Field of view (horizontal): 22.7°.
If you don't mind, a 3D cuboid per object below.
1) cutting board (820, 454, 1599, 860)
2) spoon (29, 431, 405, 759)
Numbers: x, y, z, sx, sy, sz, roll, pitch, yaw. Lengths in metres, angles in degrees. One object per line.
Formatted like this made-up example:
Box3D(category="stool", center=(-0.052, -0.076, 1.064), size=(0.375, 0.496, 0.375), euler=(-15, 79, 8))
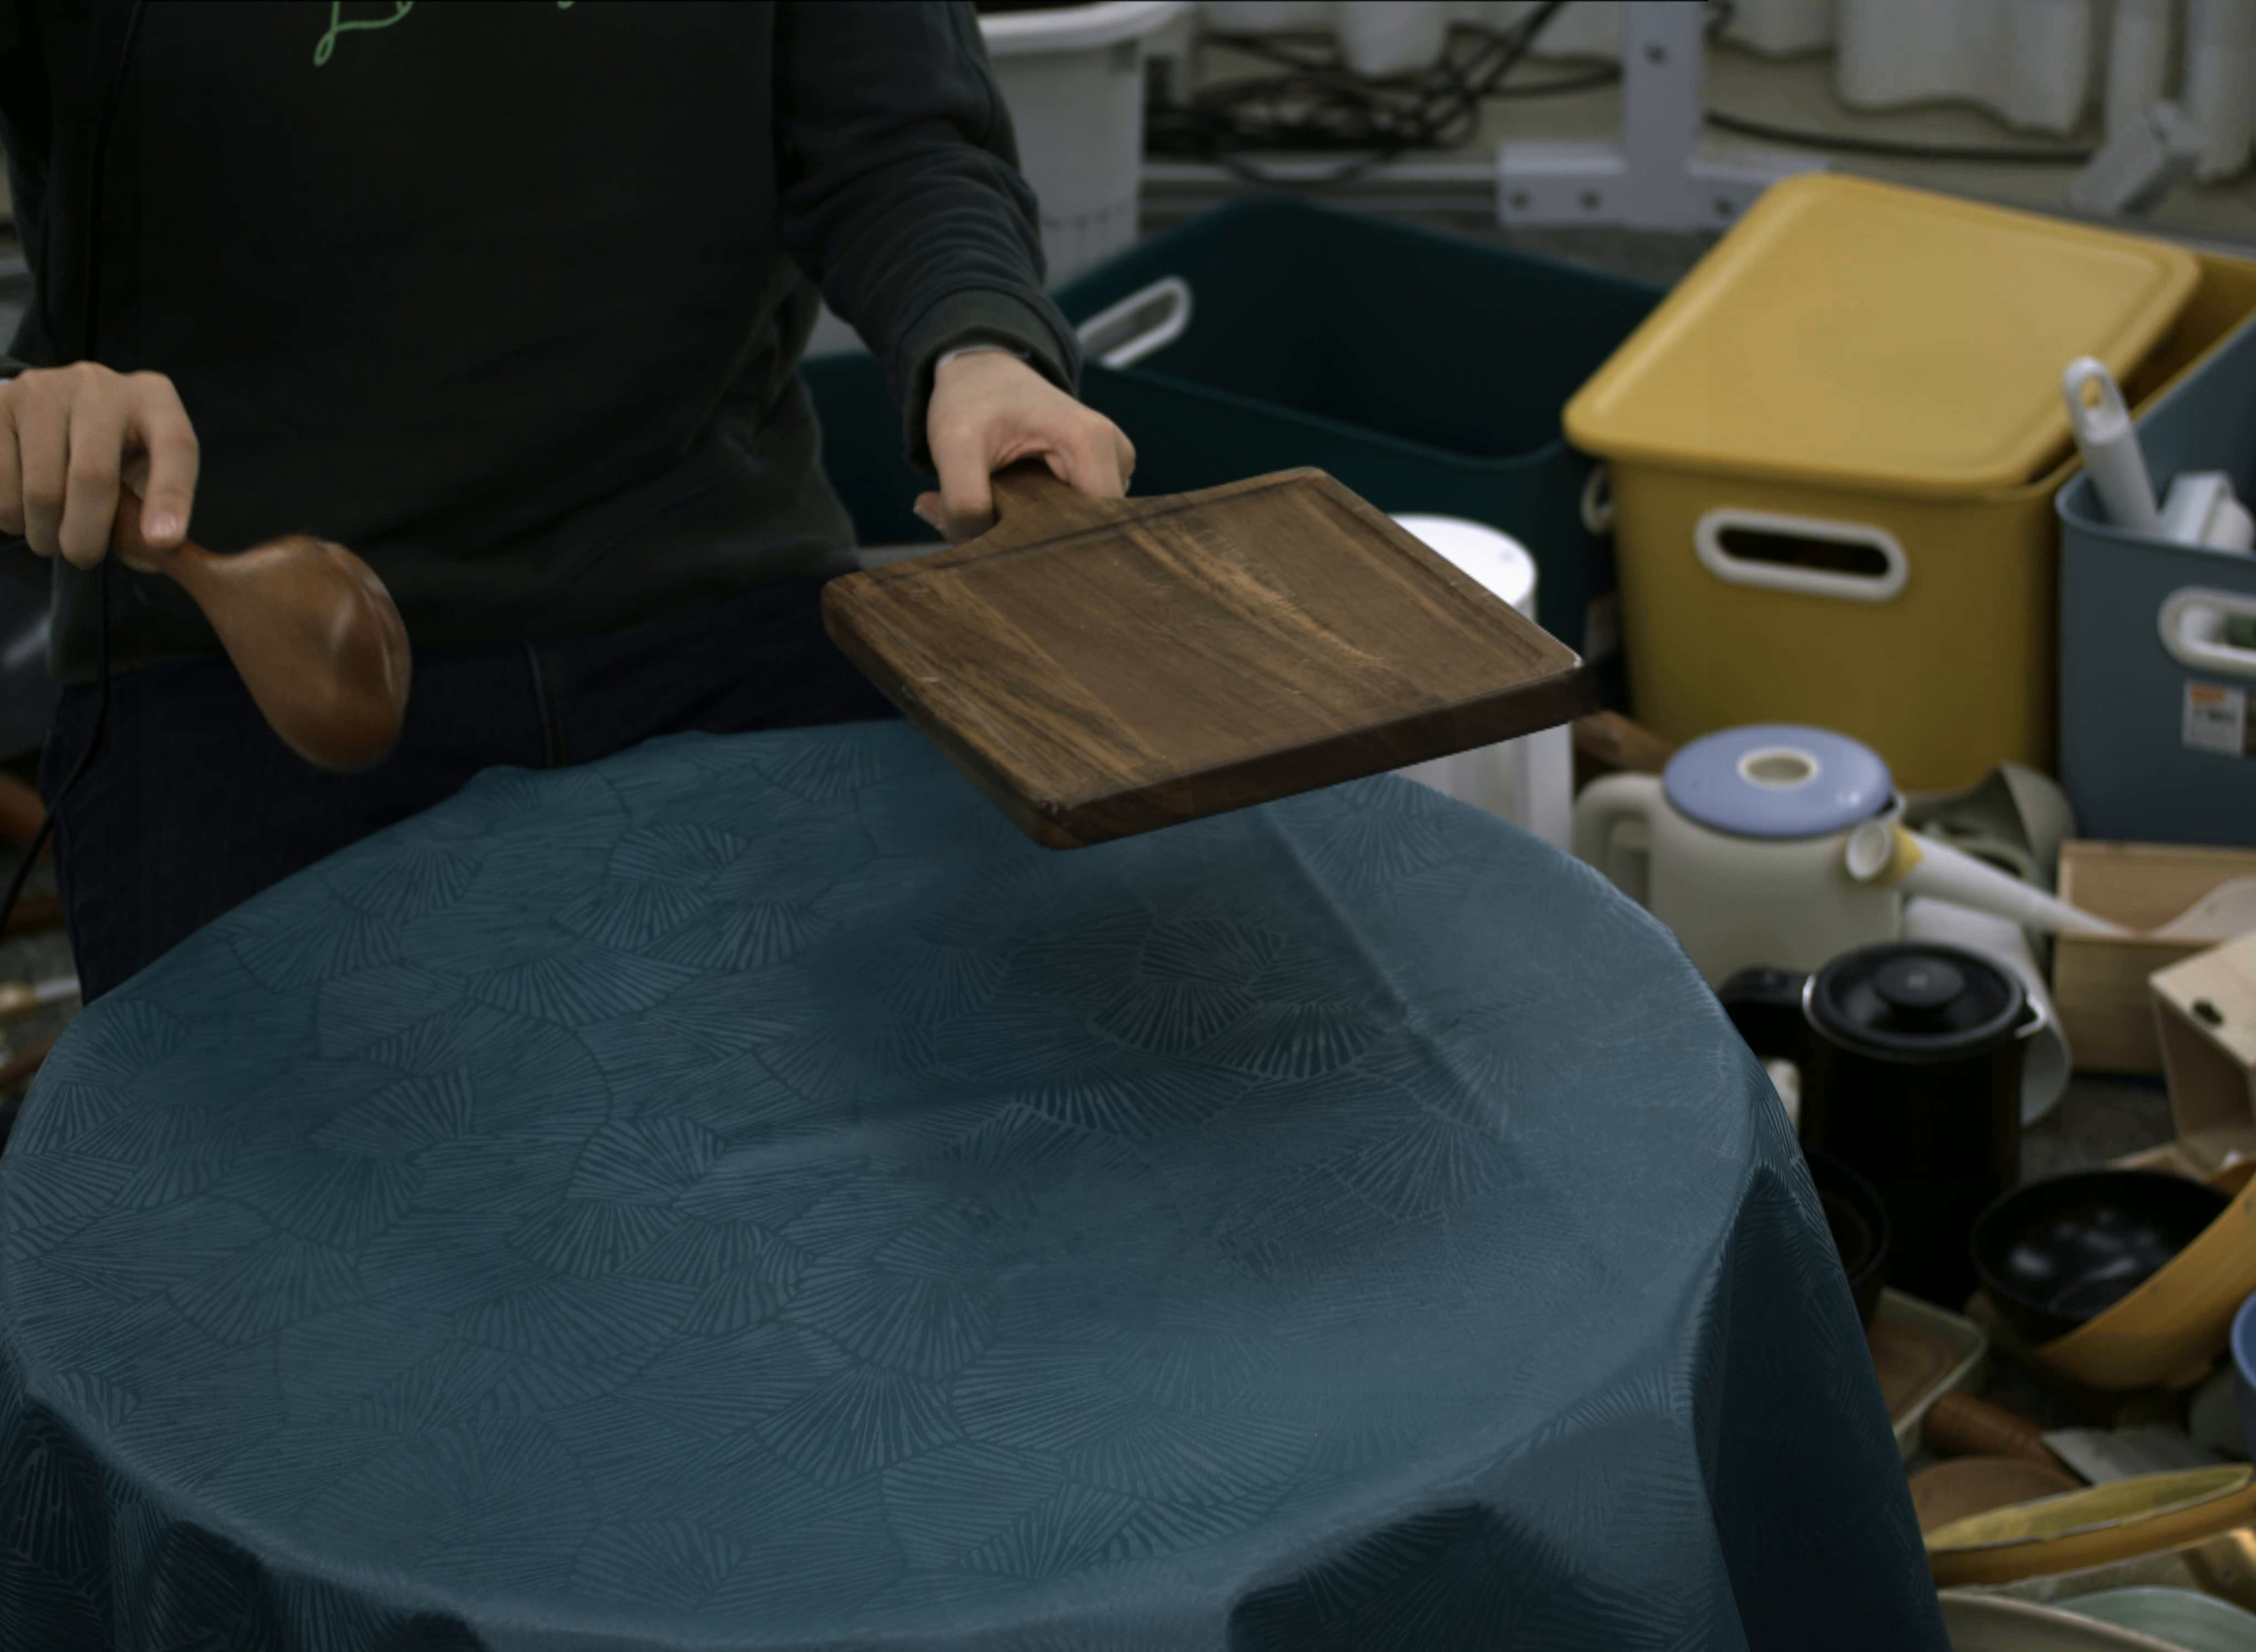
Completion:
Box3D(category="cutting board", center=(0.006, -0.075, 1.970), size=(0.201, 0.023, 0.354), euler=(-15, 23, -16))
Box3D(category="spoon", center=(-0.302, -0.083, 1.851), size=(0.017, 0.075, 0.216), euler=(-14, 32, -38))
